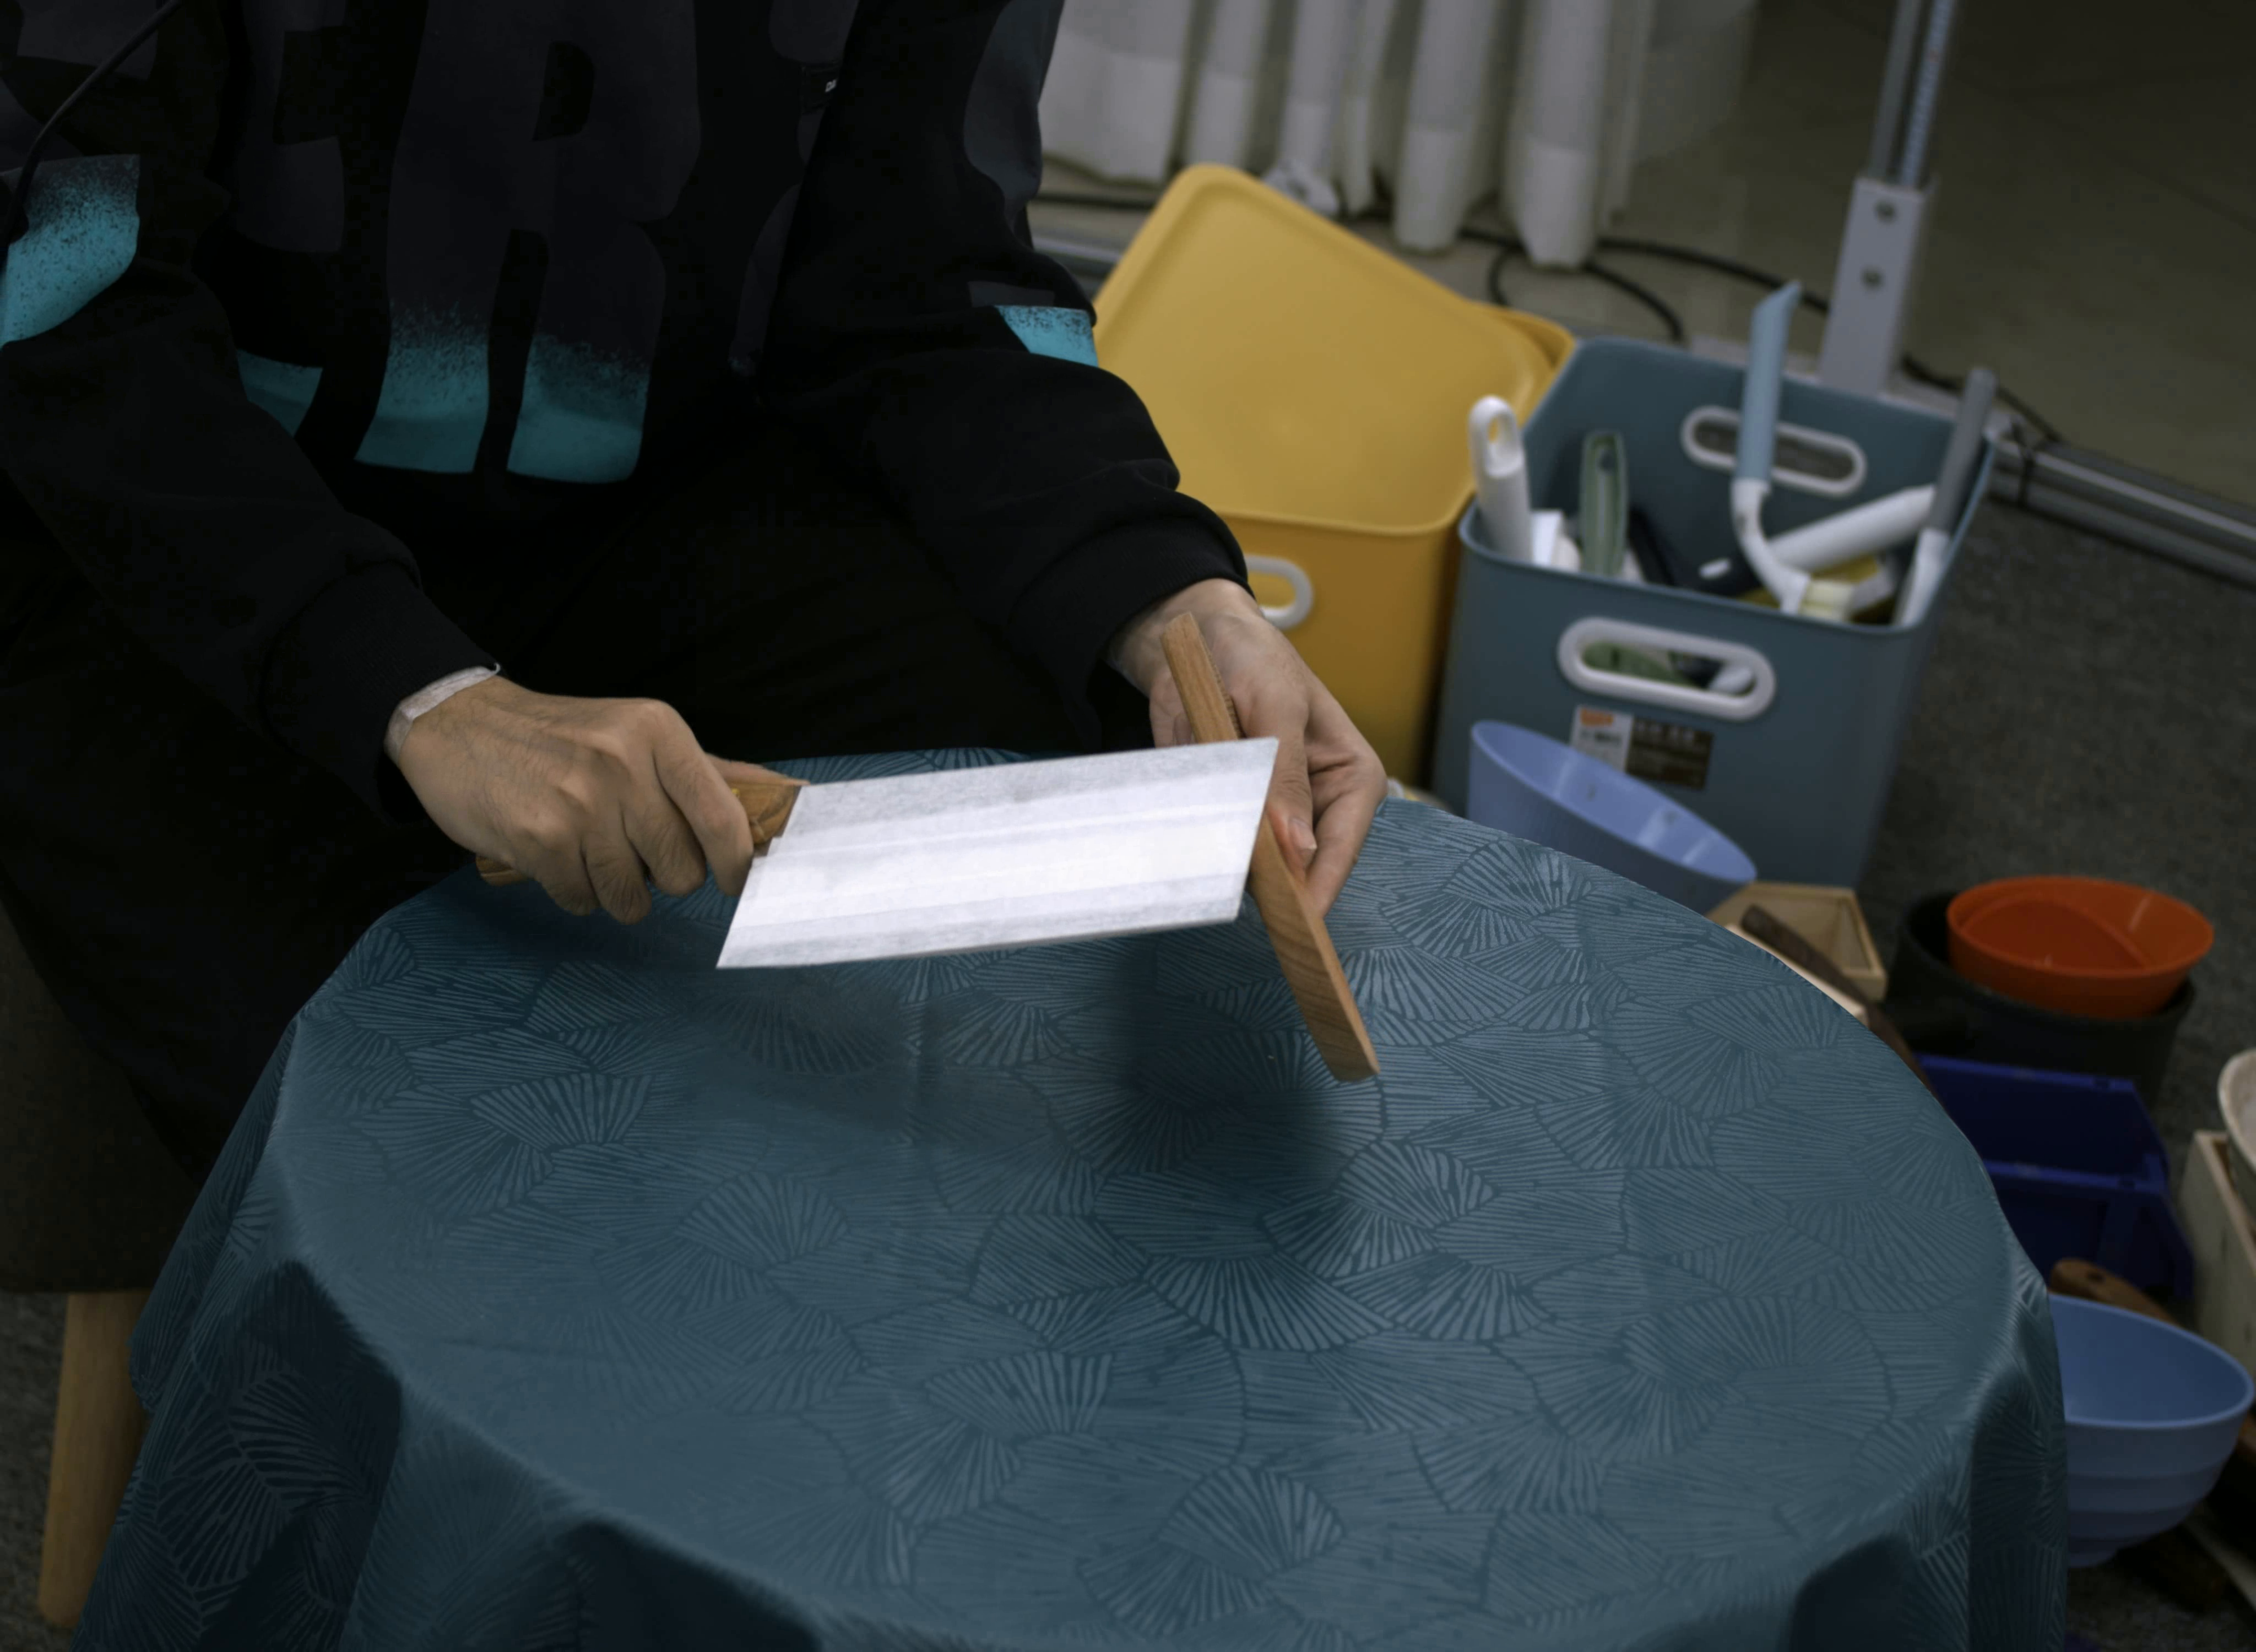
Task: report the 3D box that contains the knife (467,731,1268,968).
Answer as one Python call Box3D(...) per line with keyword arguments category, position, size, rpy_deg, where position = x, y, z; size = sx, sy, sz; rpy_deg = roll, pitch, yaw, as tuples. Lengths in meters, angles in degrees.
Box3D(category="knife", position=(-0.098, 0.012, 1.845), size=(0.306, 0.021, 0.093), rpy_deg=(-6, 43, 21))

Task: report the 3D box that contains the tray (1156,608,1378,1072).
Box3D(category="tray", position=(0.047, 0.004, 1.872), size=(0.020, 0.101, 0.233), rpy_deg=(-23, 32, 0))
